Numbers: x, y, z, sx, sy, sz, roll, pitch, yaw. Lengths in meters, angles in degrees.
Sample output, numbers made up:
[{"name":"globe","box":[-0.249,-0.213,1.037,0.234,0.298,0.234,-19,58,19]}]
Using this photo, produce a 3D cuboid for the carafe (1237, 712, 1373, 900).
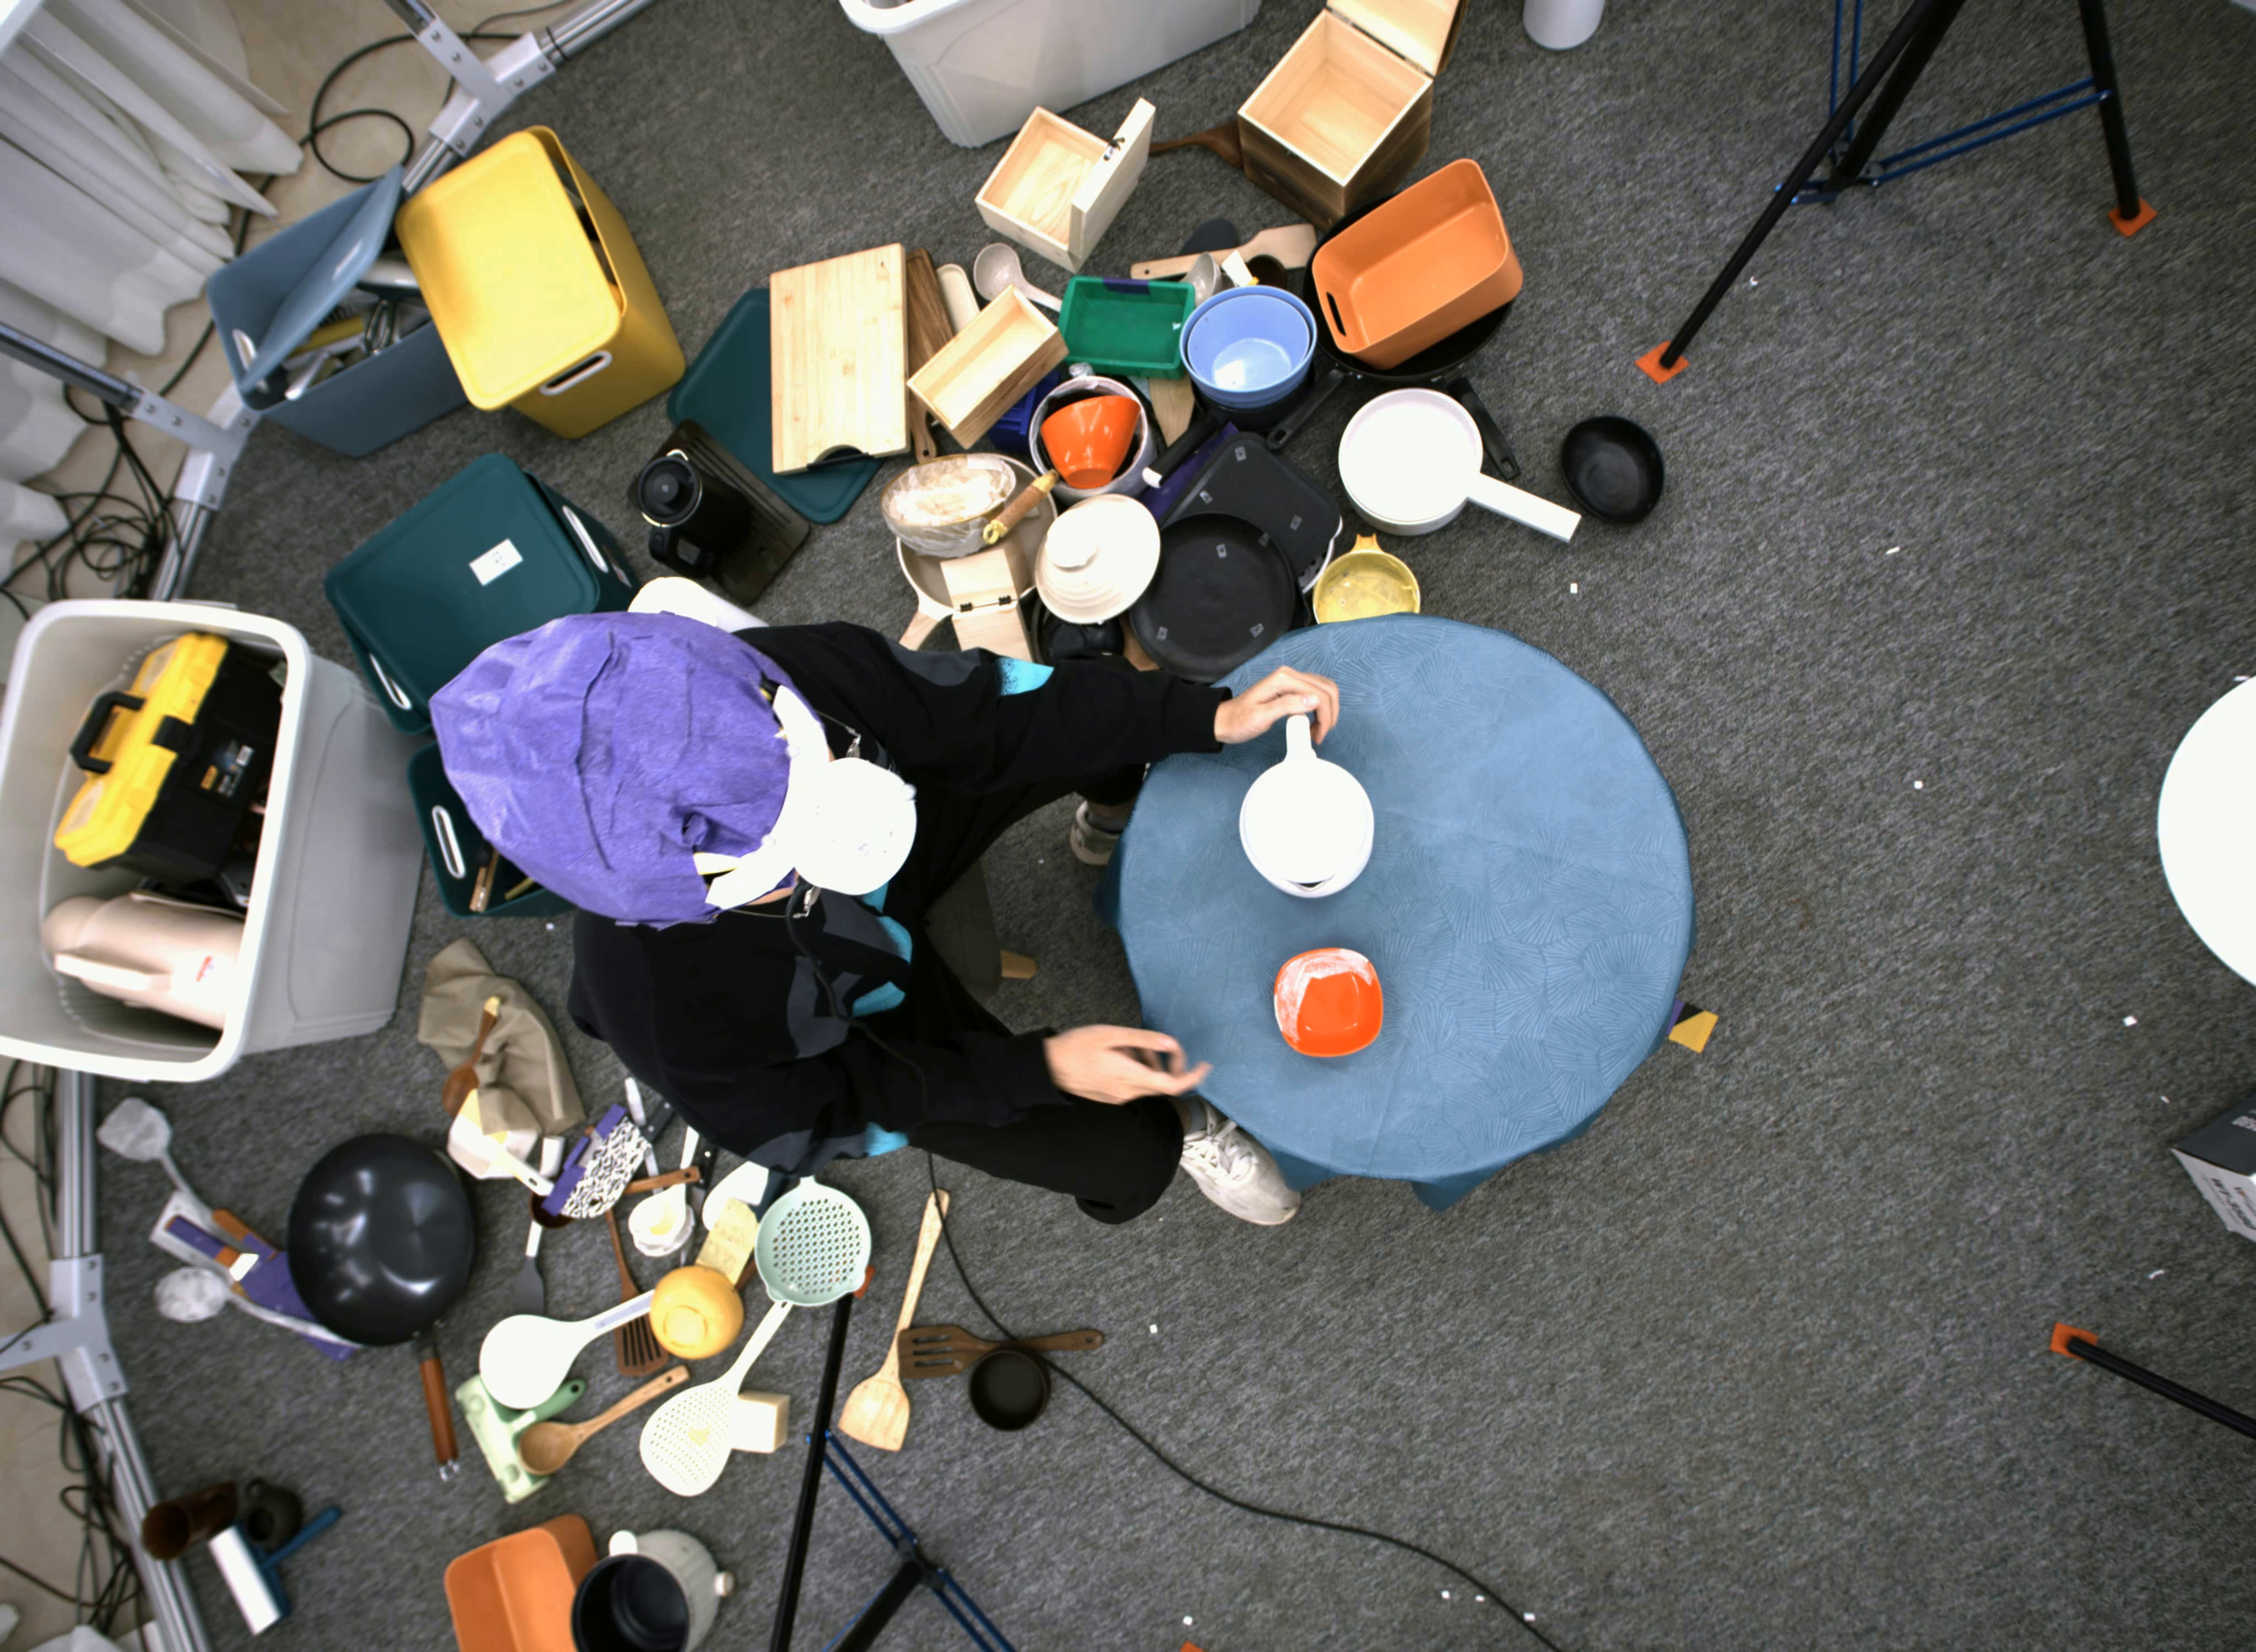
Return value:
[{"name":"carafe","box":[0.176,-0.021,1.391,0.133,0.183,0.189,-7,82,8]}]

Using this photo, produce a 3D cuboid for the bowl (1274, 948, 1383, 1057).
[{"name":"bowl","box":[0.207,0.180,1.434,0.119,0.051,0.118,0,88,8]}]
